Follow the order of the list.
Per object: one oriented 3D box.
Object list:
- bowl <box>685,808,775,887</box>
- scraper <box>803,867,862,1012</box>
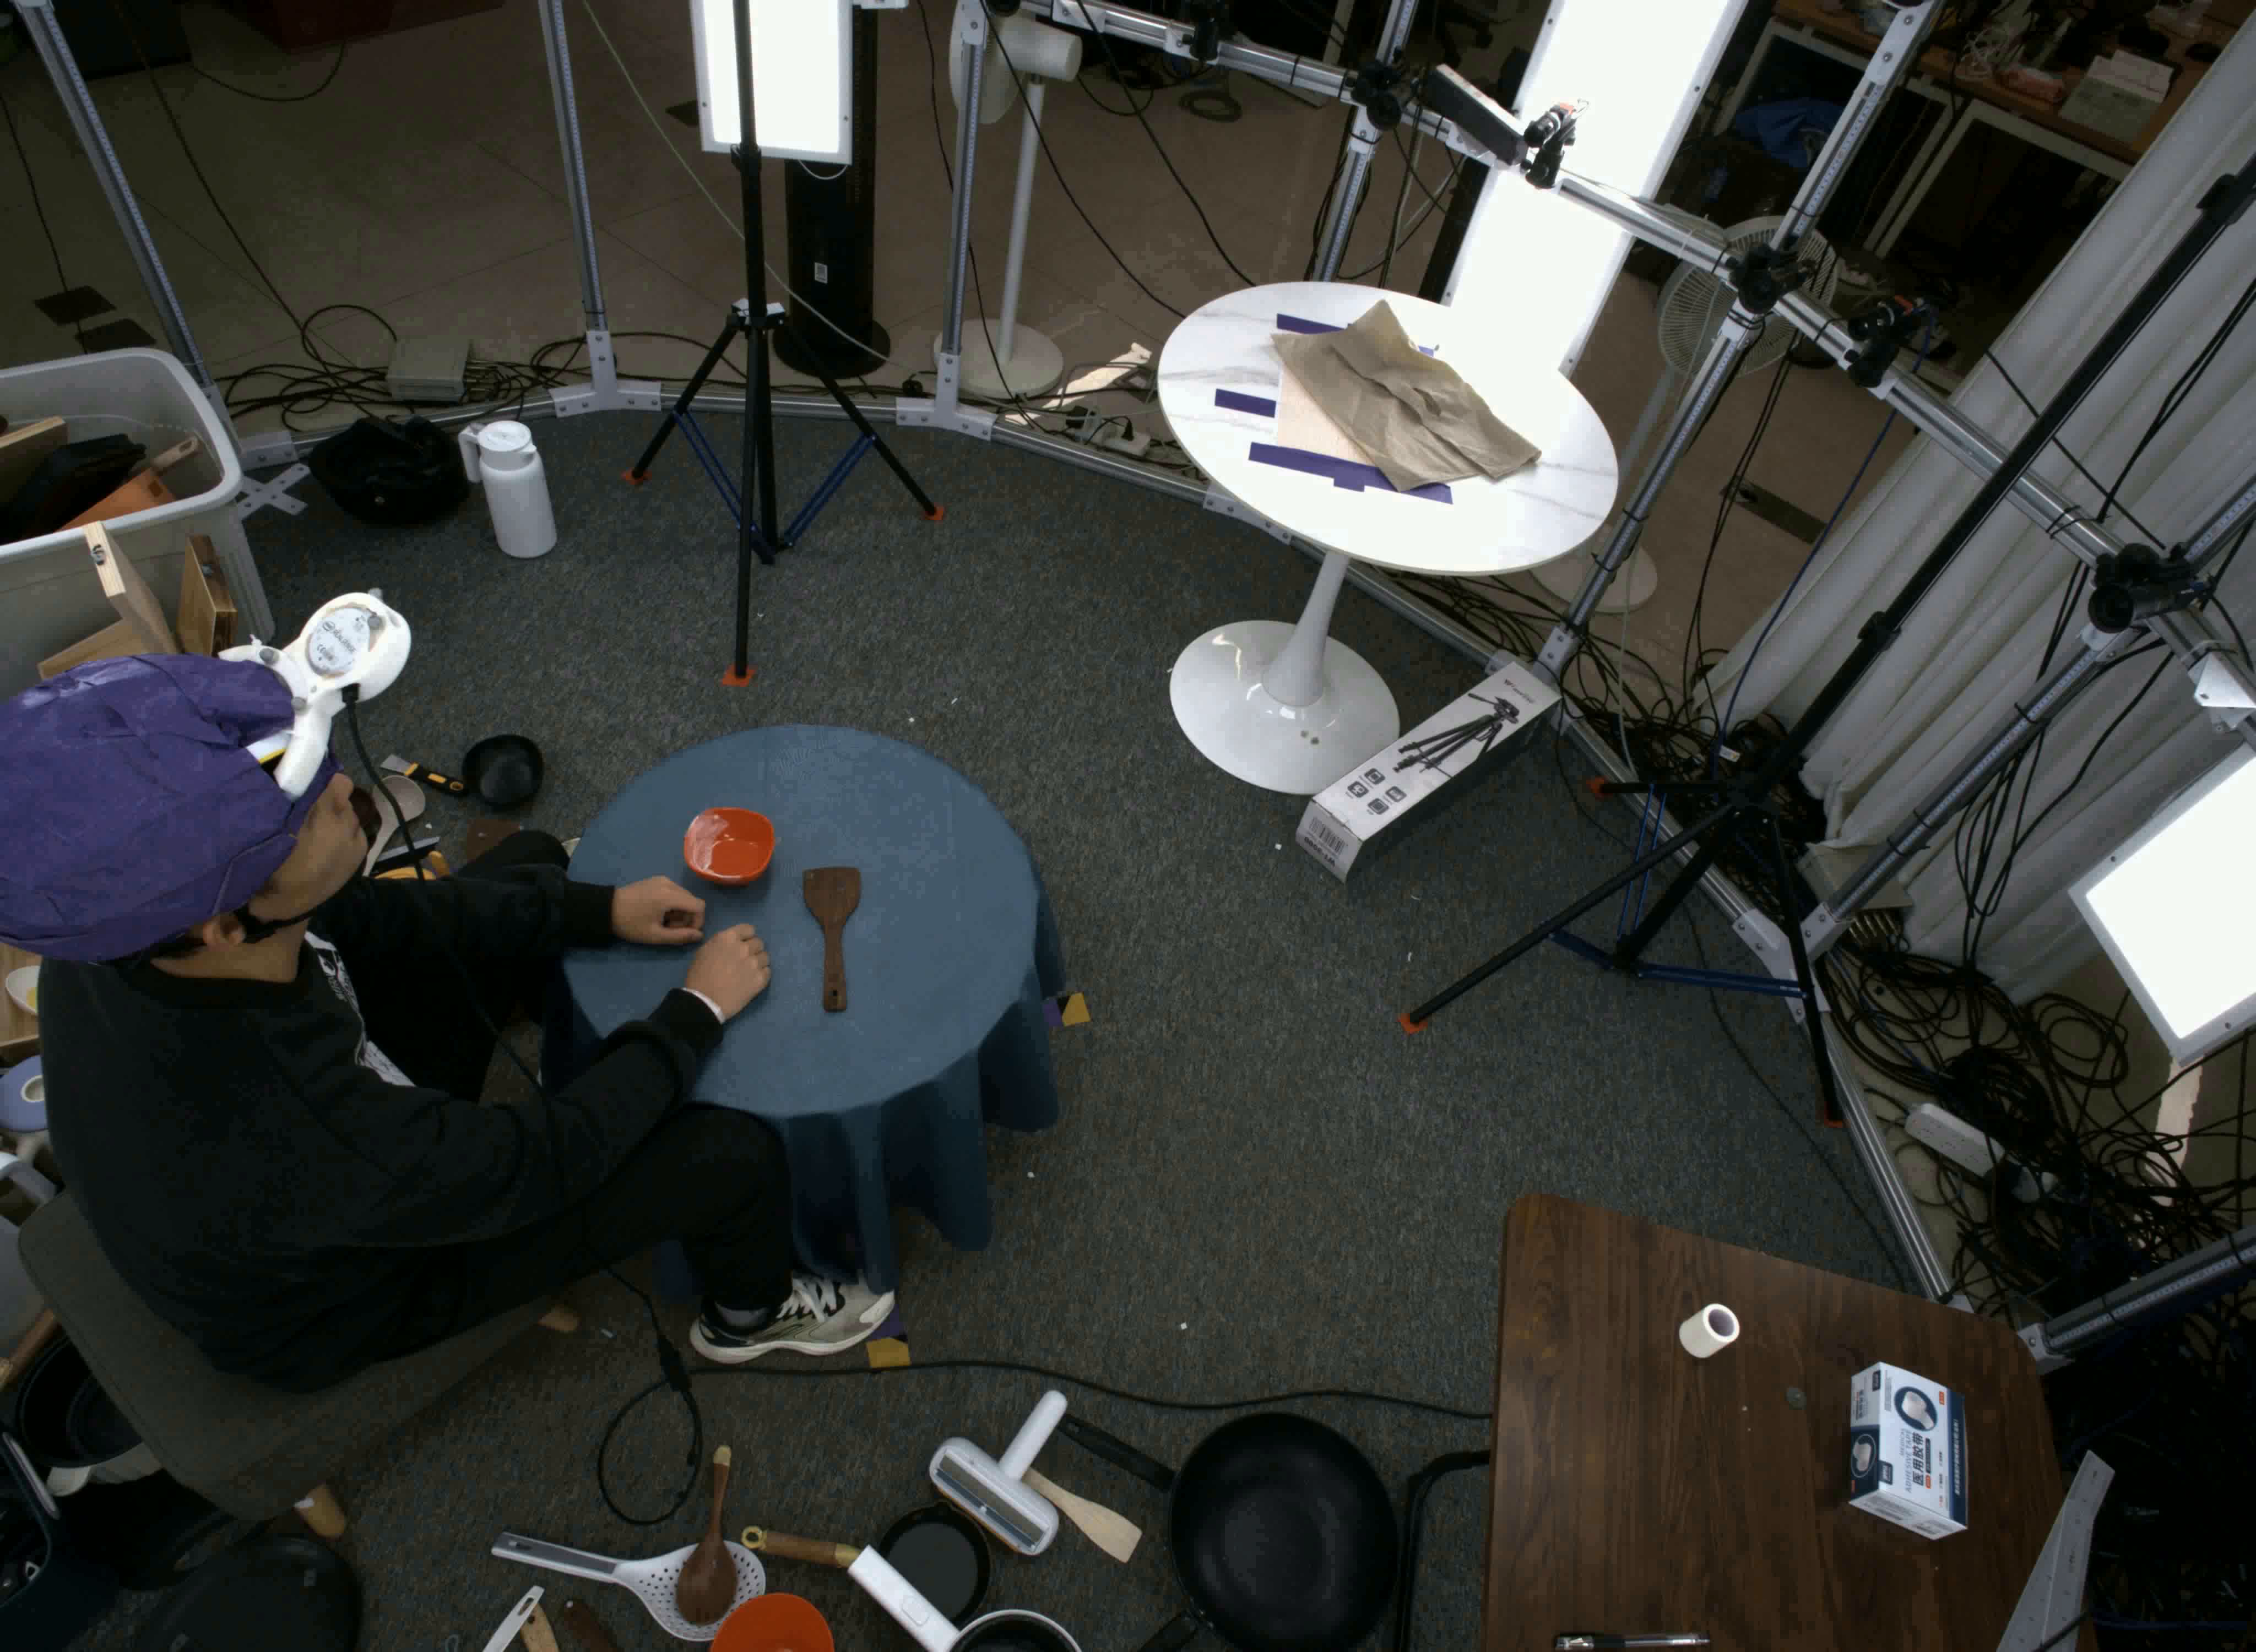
[{"bbox_3d":[-0.507,0.034,1.651,0.119,0.052,0.117,9,52,-10],"label":"bowl"},{"bbox_3d":[-0.370,0.139,1.634,0.076,0.011,0.207,-1,55,-14],"label":"scraper"}]
